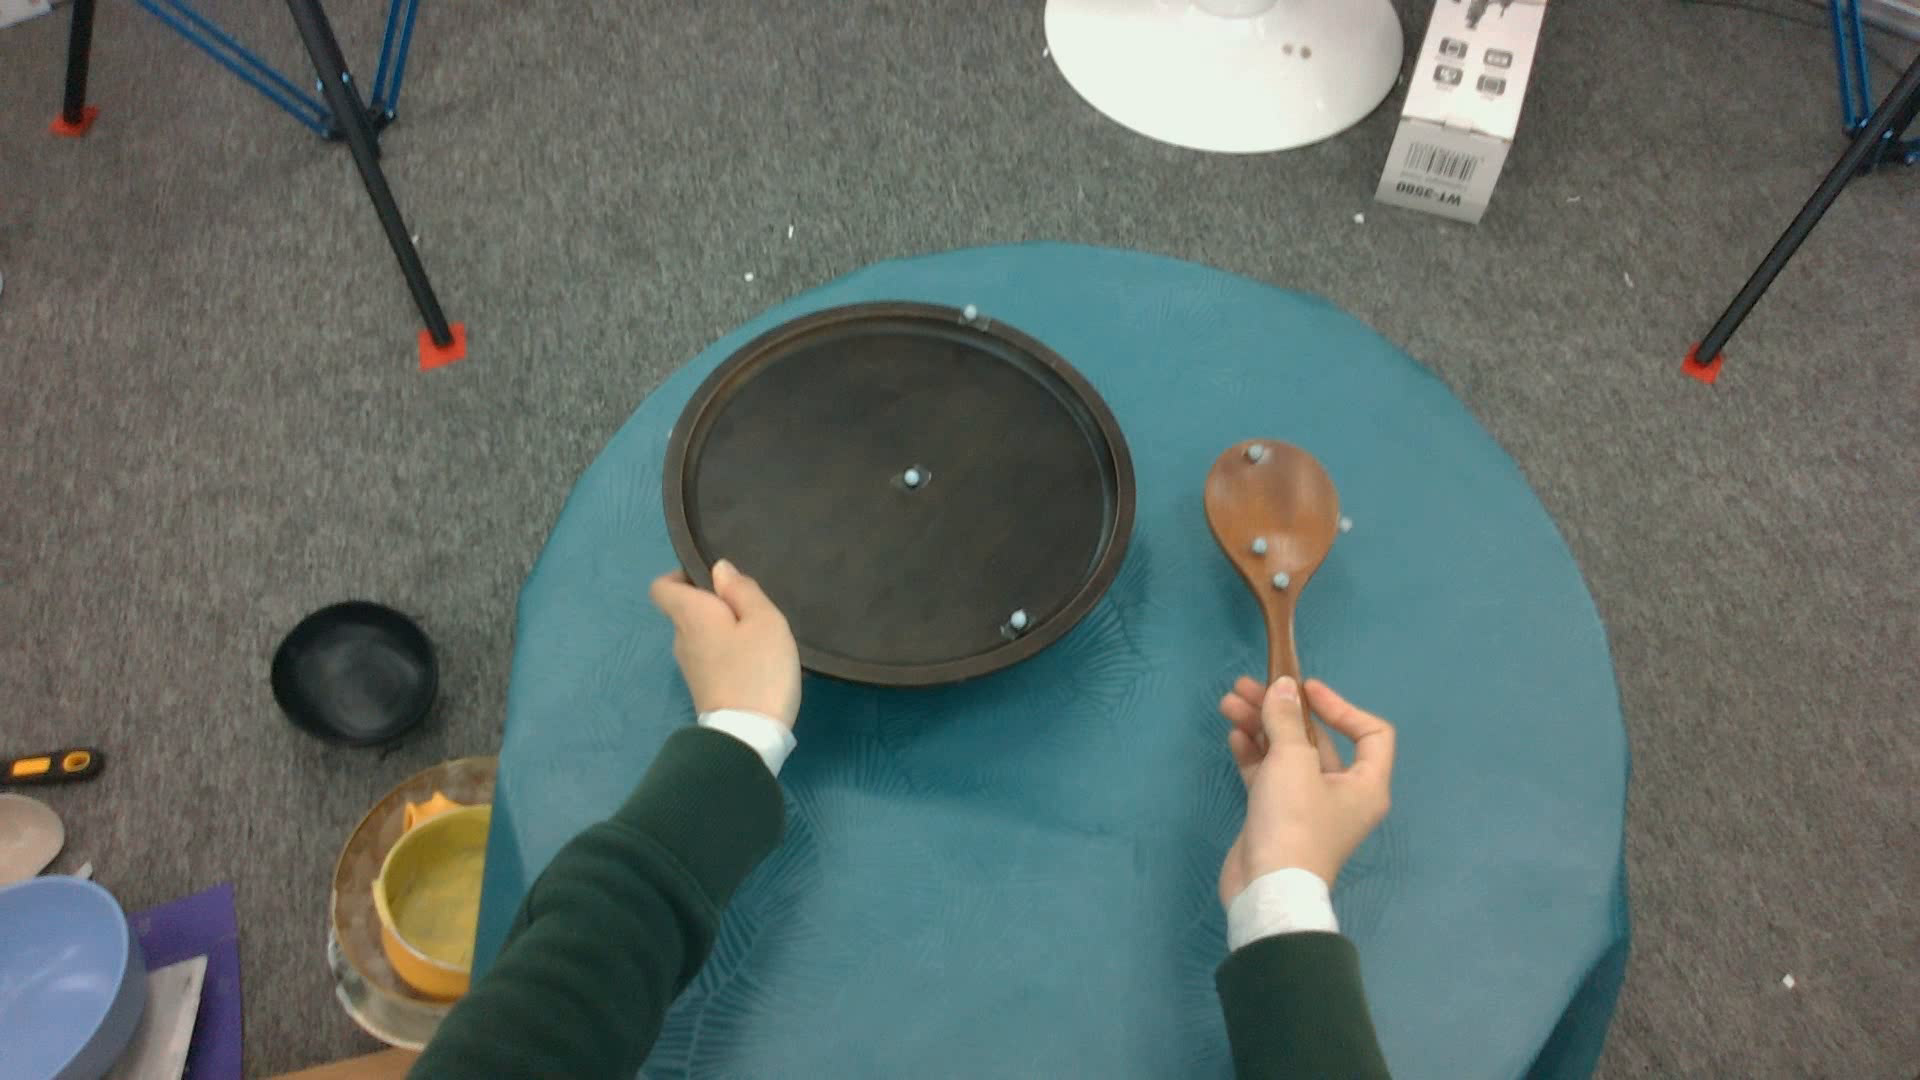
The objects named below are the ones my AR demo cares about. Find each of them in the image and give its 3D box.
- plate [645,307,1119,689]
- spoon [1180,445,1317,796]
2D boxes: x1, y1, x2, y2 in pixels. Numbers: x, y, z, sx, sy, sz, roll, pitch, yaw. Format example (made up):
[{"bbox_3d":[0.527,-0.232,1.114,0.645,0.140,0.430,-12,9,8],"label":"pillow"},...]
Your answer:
[{"bbox_3d":[-0.041,-0.029,0.744,0.255,0.029,0.256,2,53,-3],"label":"plate"},{"bbox_3d":[0.156,0.035,0.718,0.075,0.017,0.217,3,52,-1],"label":"spoon"}]
